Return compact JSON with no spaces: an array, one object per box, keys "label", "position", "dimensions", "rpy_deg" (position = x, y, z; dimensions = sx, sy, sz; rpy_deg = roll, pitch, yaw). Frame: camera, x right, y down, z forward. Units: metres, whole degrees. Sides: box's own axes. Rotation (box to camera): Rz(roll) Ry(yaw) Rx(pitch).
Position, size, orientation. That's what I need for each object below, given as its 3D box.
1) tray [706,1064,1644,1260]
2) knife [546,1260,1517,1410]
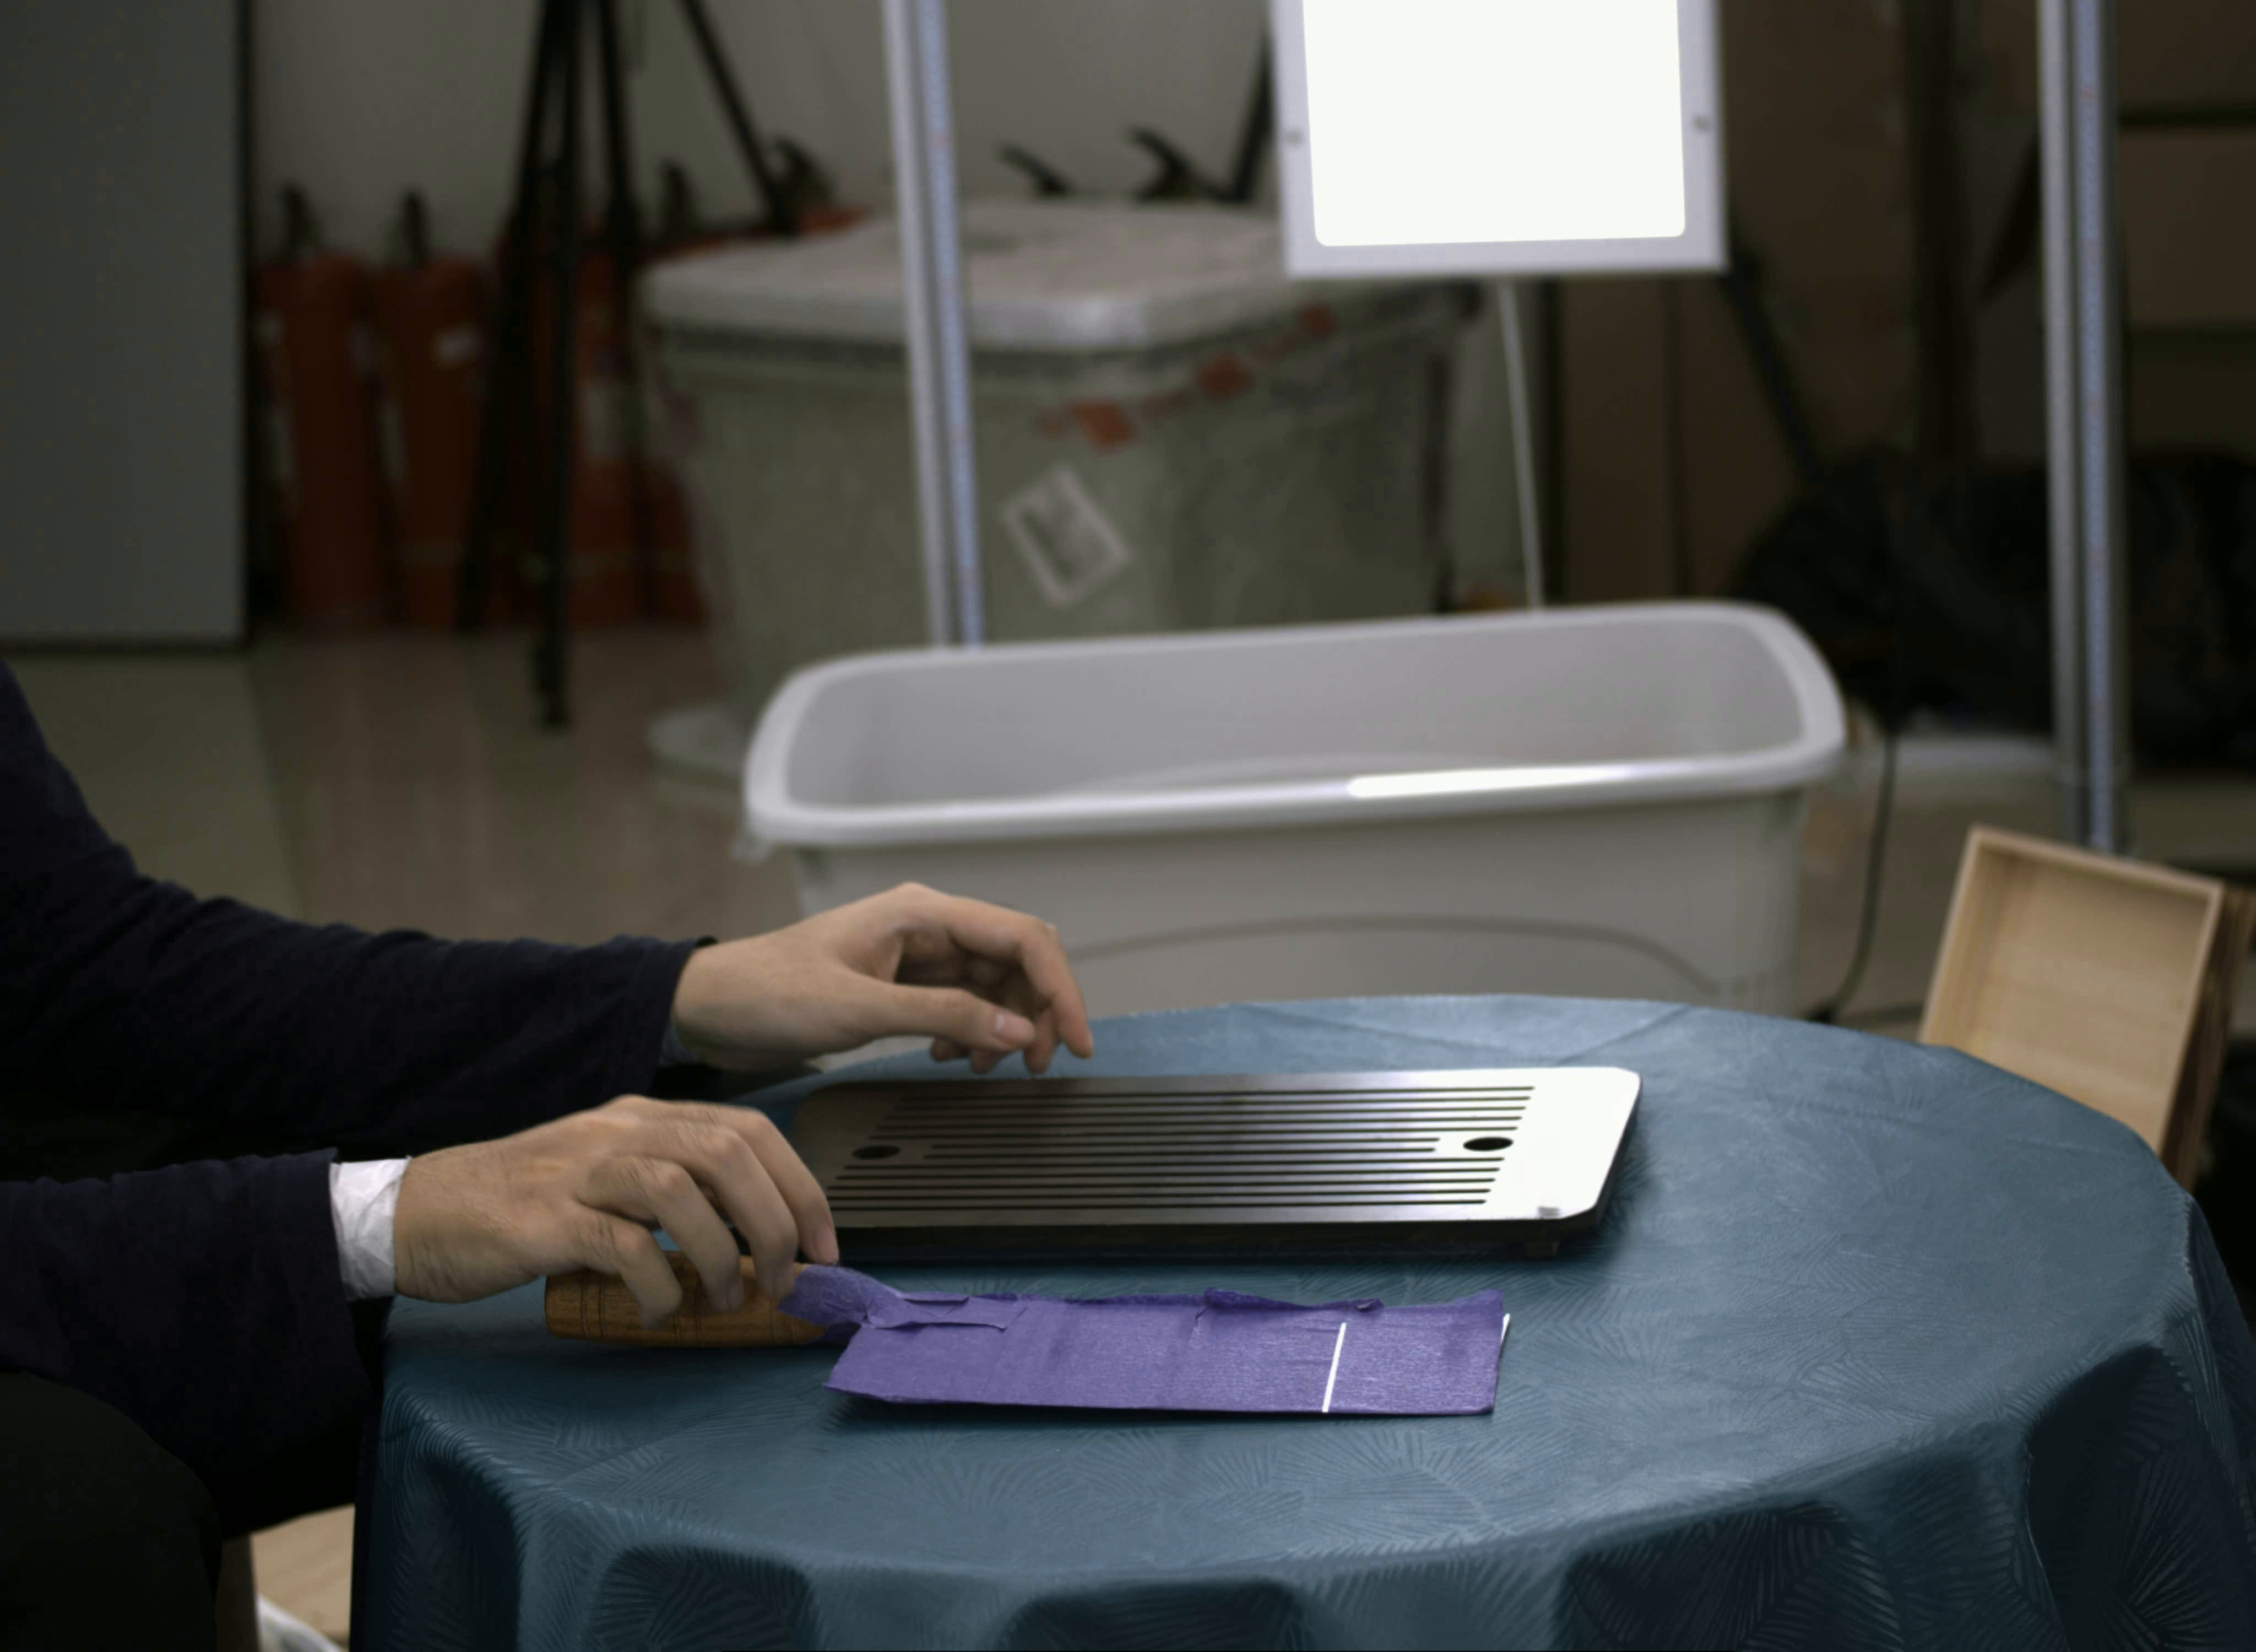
[{"label":"tray","position":[0.020,0.116,1.899],"dimensions":[0.308,0.019,0.168],"rpy_deg":[-2,14,14]},{"label":"knife","position":[-0.036,0.159,1.726],"dimensions":[0.317,0.032,0.103],"rpy_deg":[-2,14,11]}]
